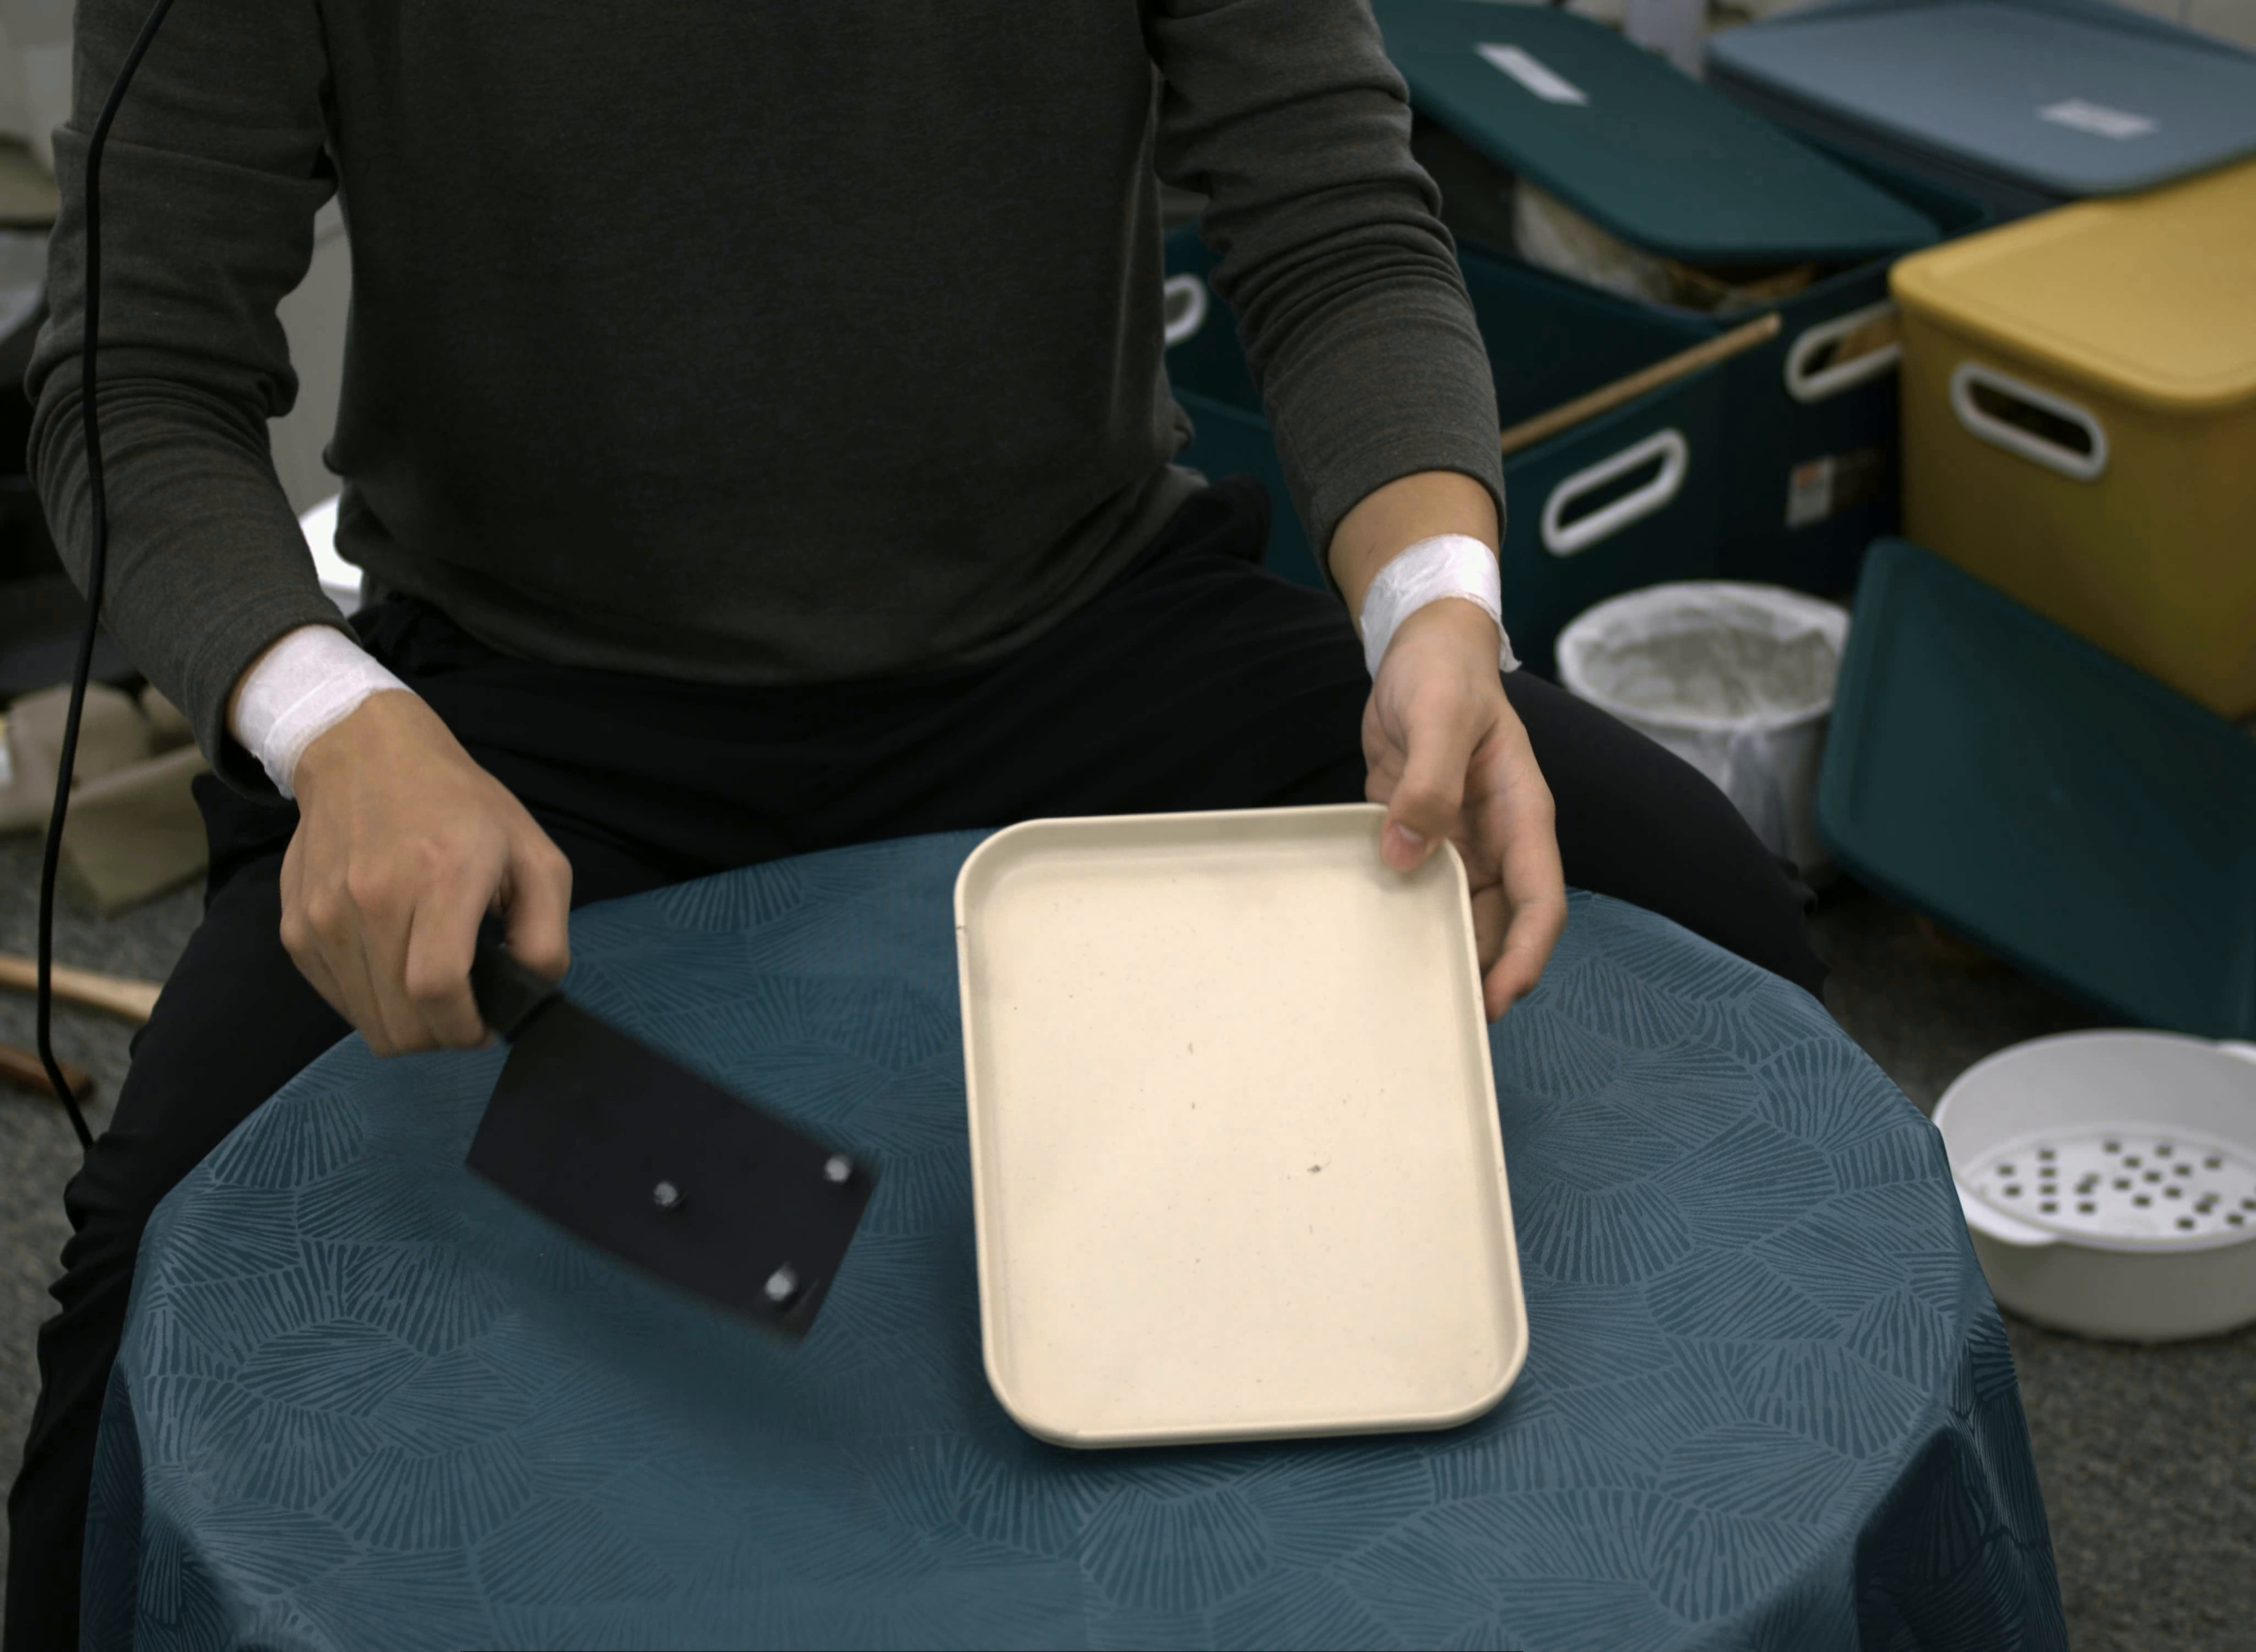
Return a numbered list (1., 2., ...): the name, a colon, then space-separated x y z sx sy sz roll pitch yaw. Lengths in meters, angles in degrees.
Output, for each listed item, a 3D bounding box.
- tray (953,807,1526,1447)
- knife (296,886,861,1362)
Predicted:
1. tray: 0.033 0.095 1.792 0.170 0.017 0.244 -1 51 -4
2. knife: -0.184 0.089 1.795 0.021 0.081 0.303 28 3 -44
